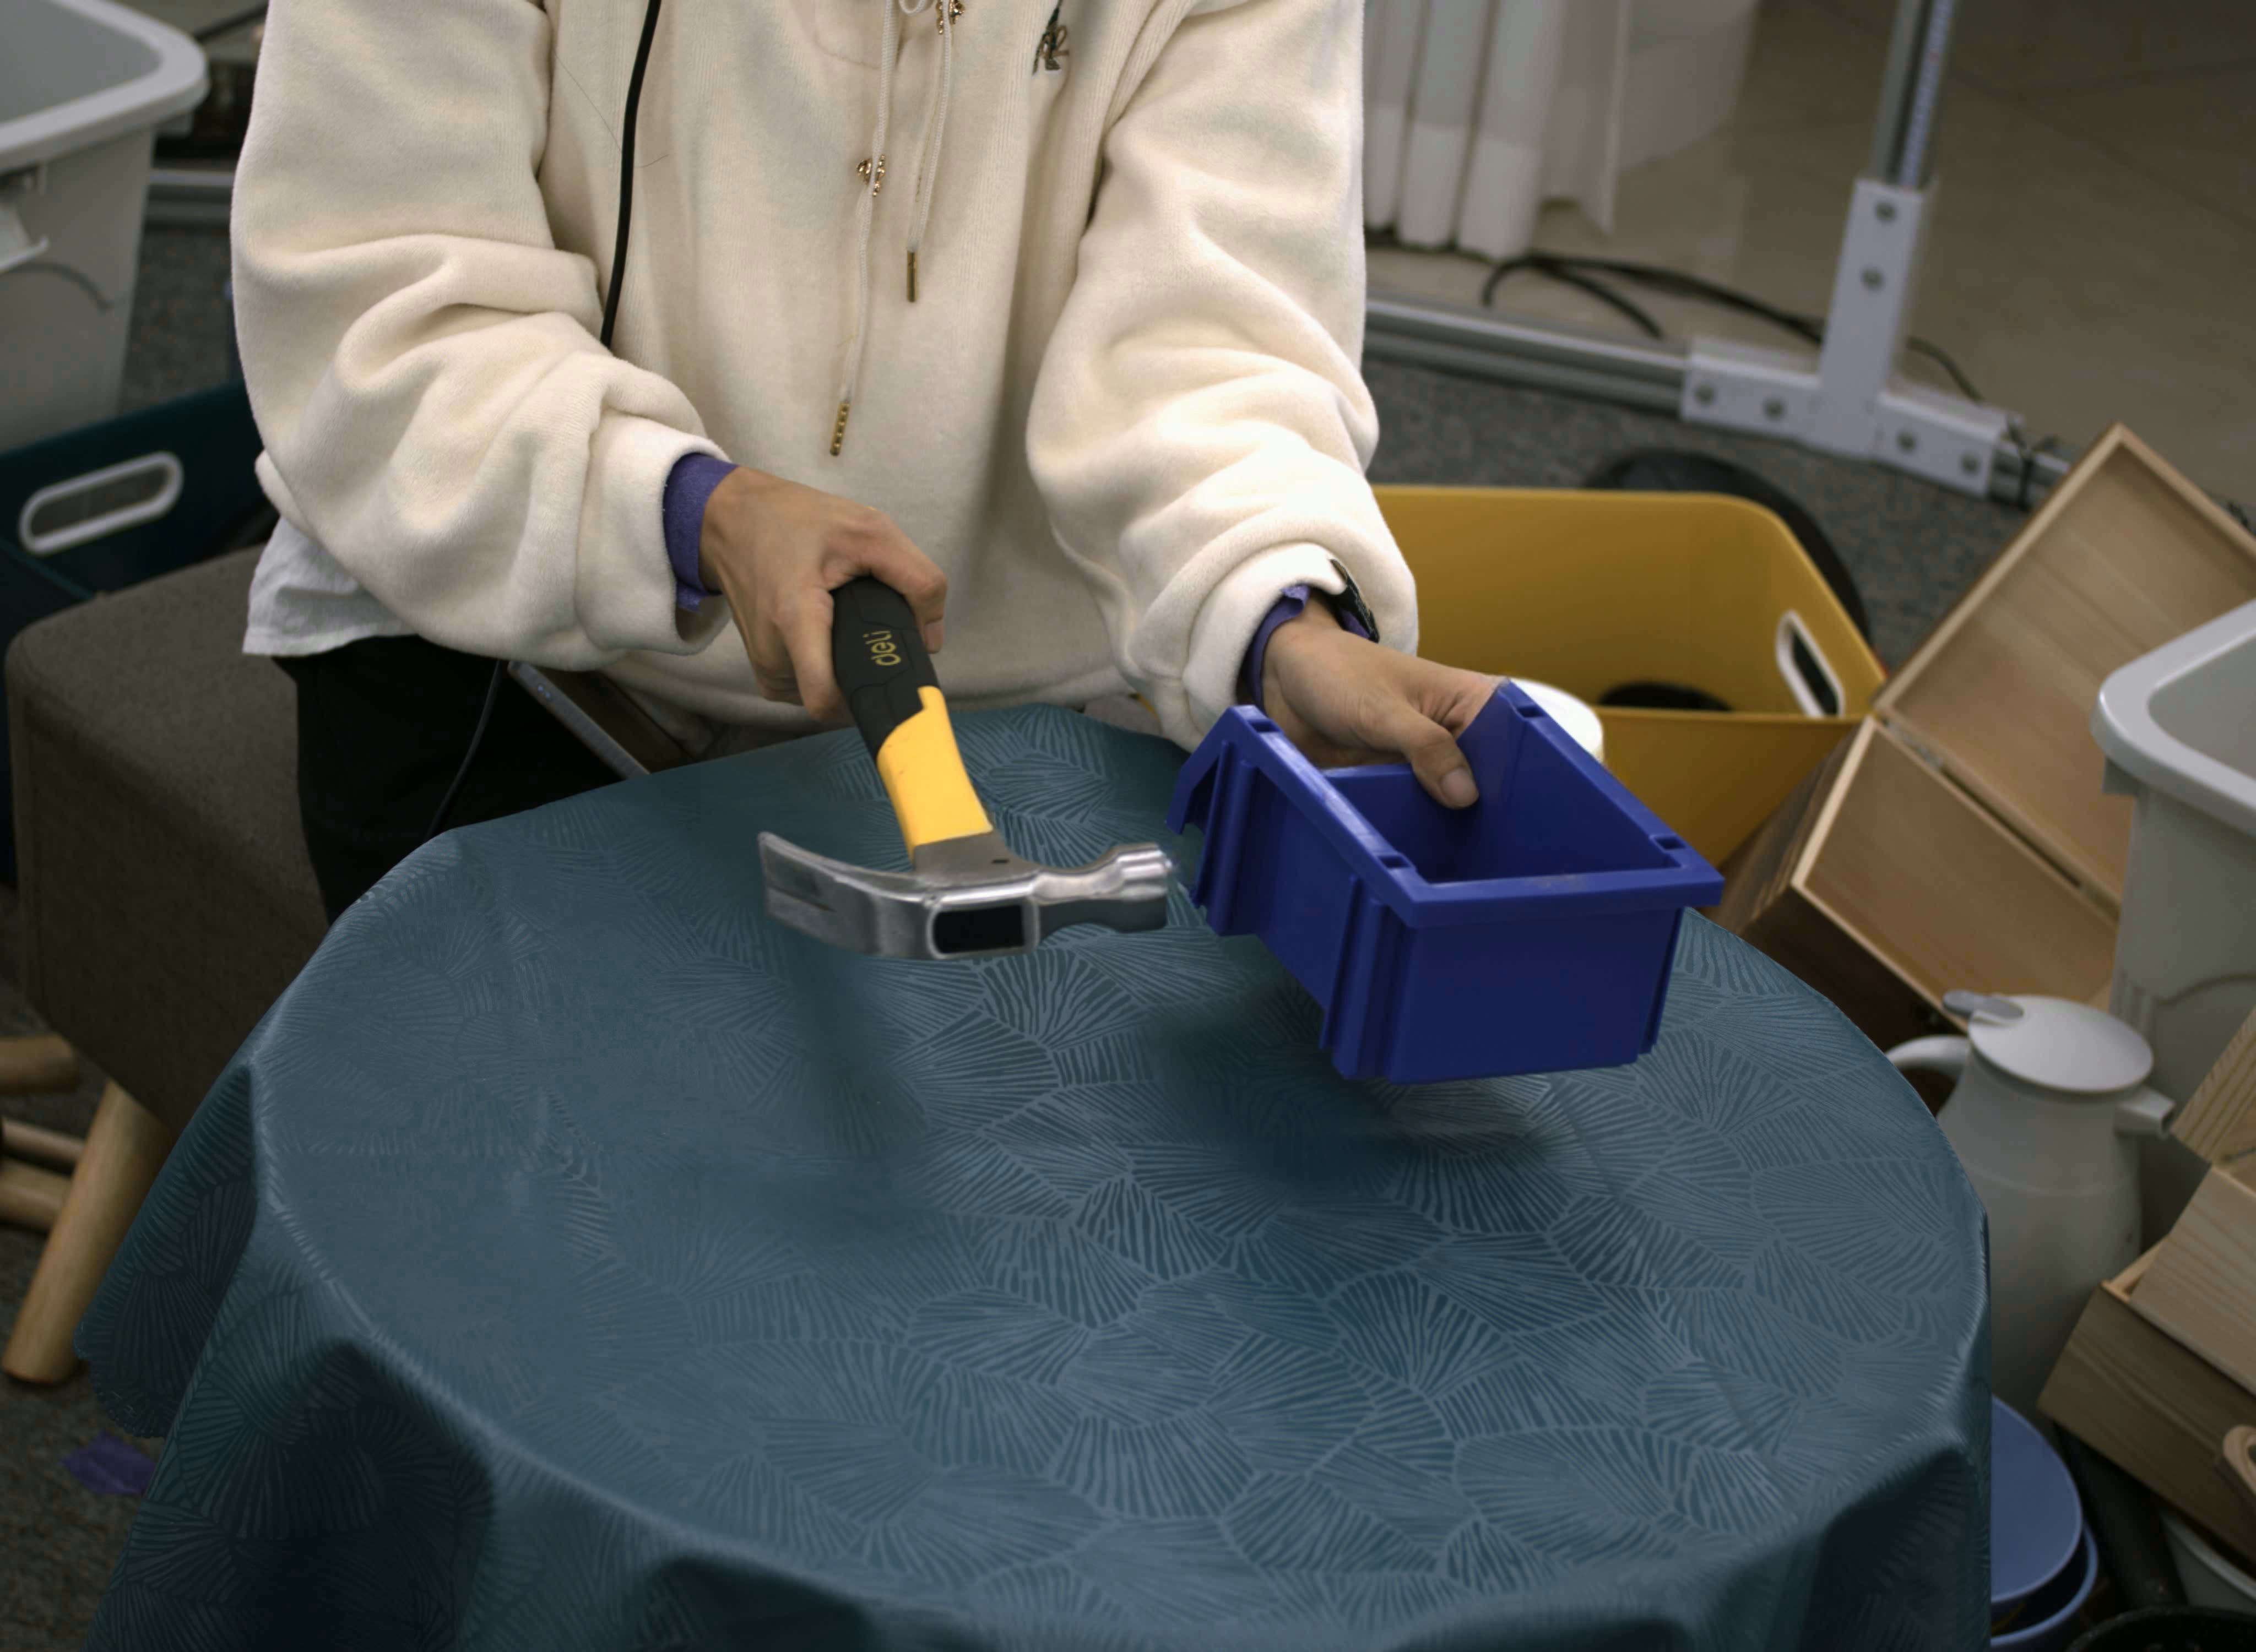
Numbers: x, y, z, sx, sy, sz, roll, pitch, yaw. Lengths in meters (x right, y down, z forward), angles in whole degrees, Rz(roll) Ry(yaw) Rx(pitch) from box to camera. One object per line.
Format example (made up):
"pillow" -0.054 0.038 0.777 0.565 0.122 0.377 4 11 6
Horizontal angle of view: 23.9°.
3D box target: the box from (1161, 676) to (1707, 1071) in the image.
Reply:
"box" 0.101 0.011 1.863 0.123 0.081 0.181 -3 29 -24

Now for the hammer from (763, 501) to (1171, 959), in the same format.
"hammer" -0.078 -0.042 1.910 0.131 0.032 0.341 -8 27 -7
